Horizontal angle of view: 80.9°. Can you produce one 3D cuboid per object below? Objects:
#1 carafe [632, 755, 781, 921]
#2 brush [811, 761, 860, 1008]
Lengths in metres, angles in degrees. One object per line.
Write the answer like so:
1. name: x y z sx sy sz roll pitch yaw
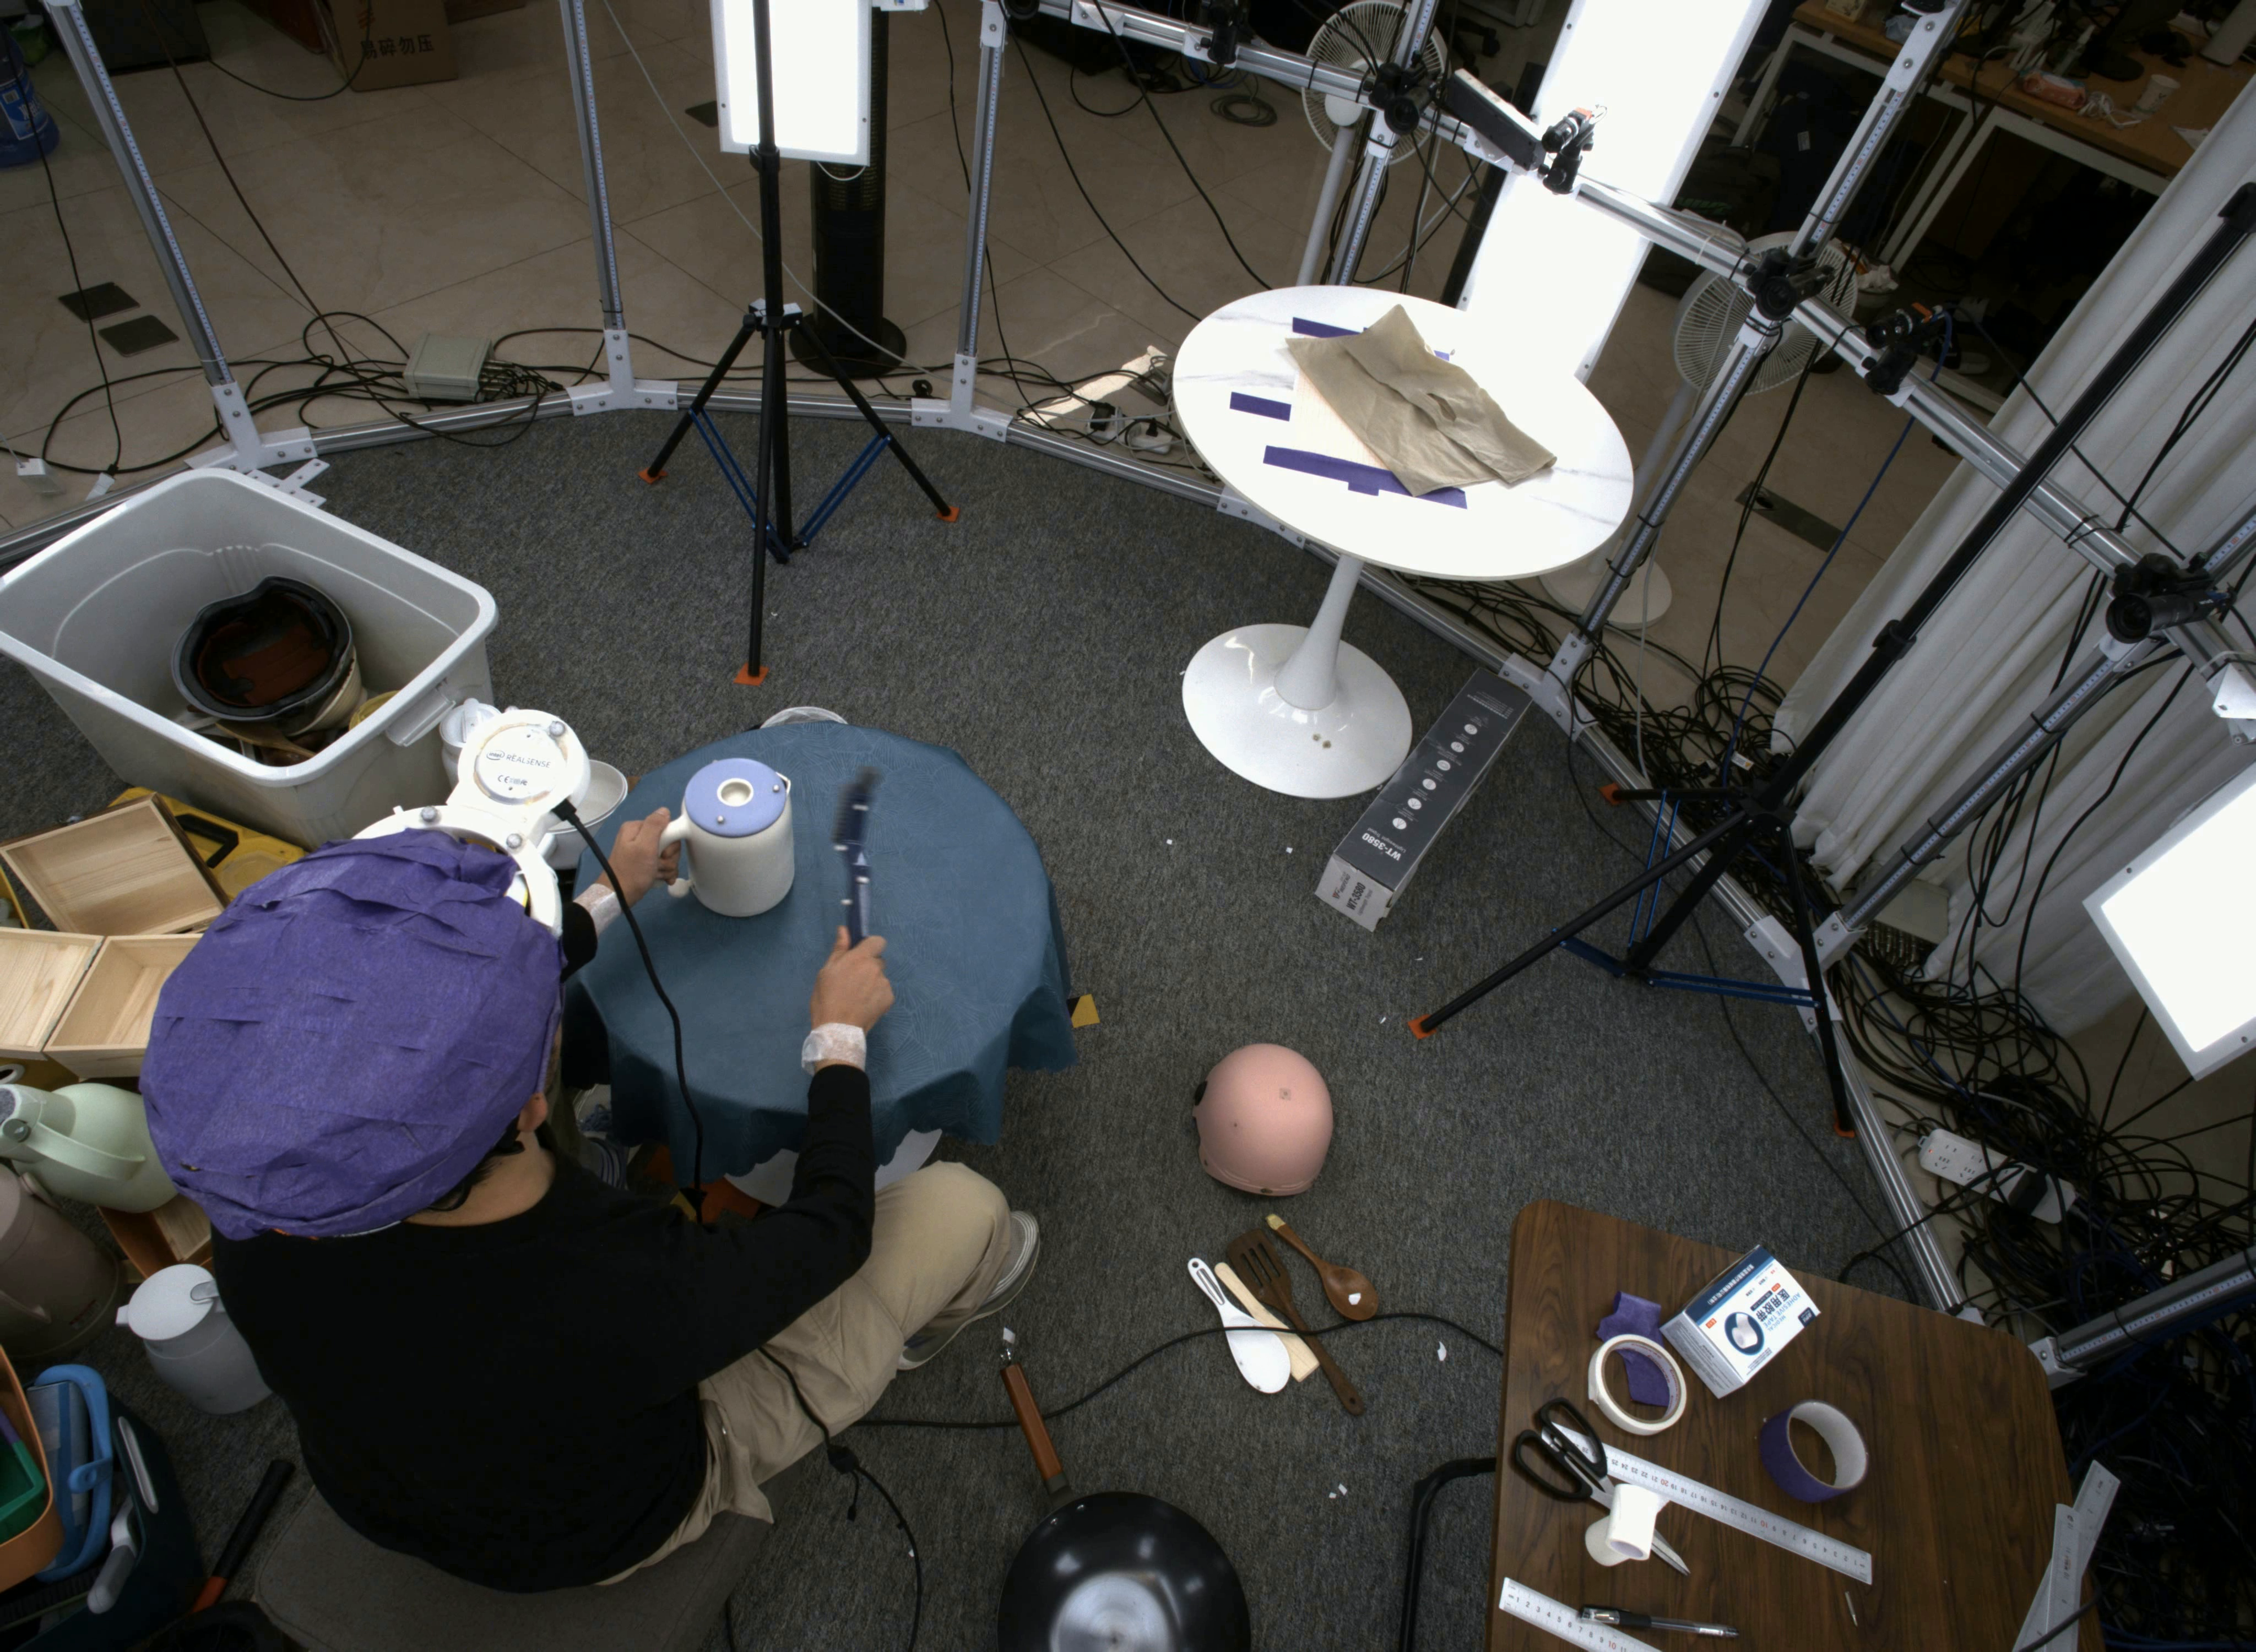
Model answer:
1. carafe: -0.514 0.023 1.566 0.192 0.186 0.129 -25 61 -28
2. brush: -0.336 0.068 1.516 0.034 0.094 0.272 4 72 -48
